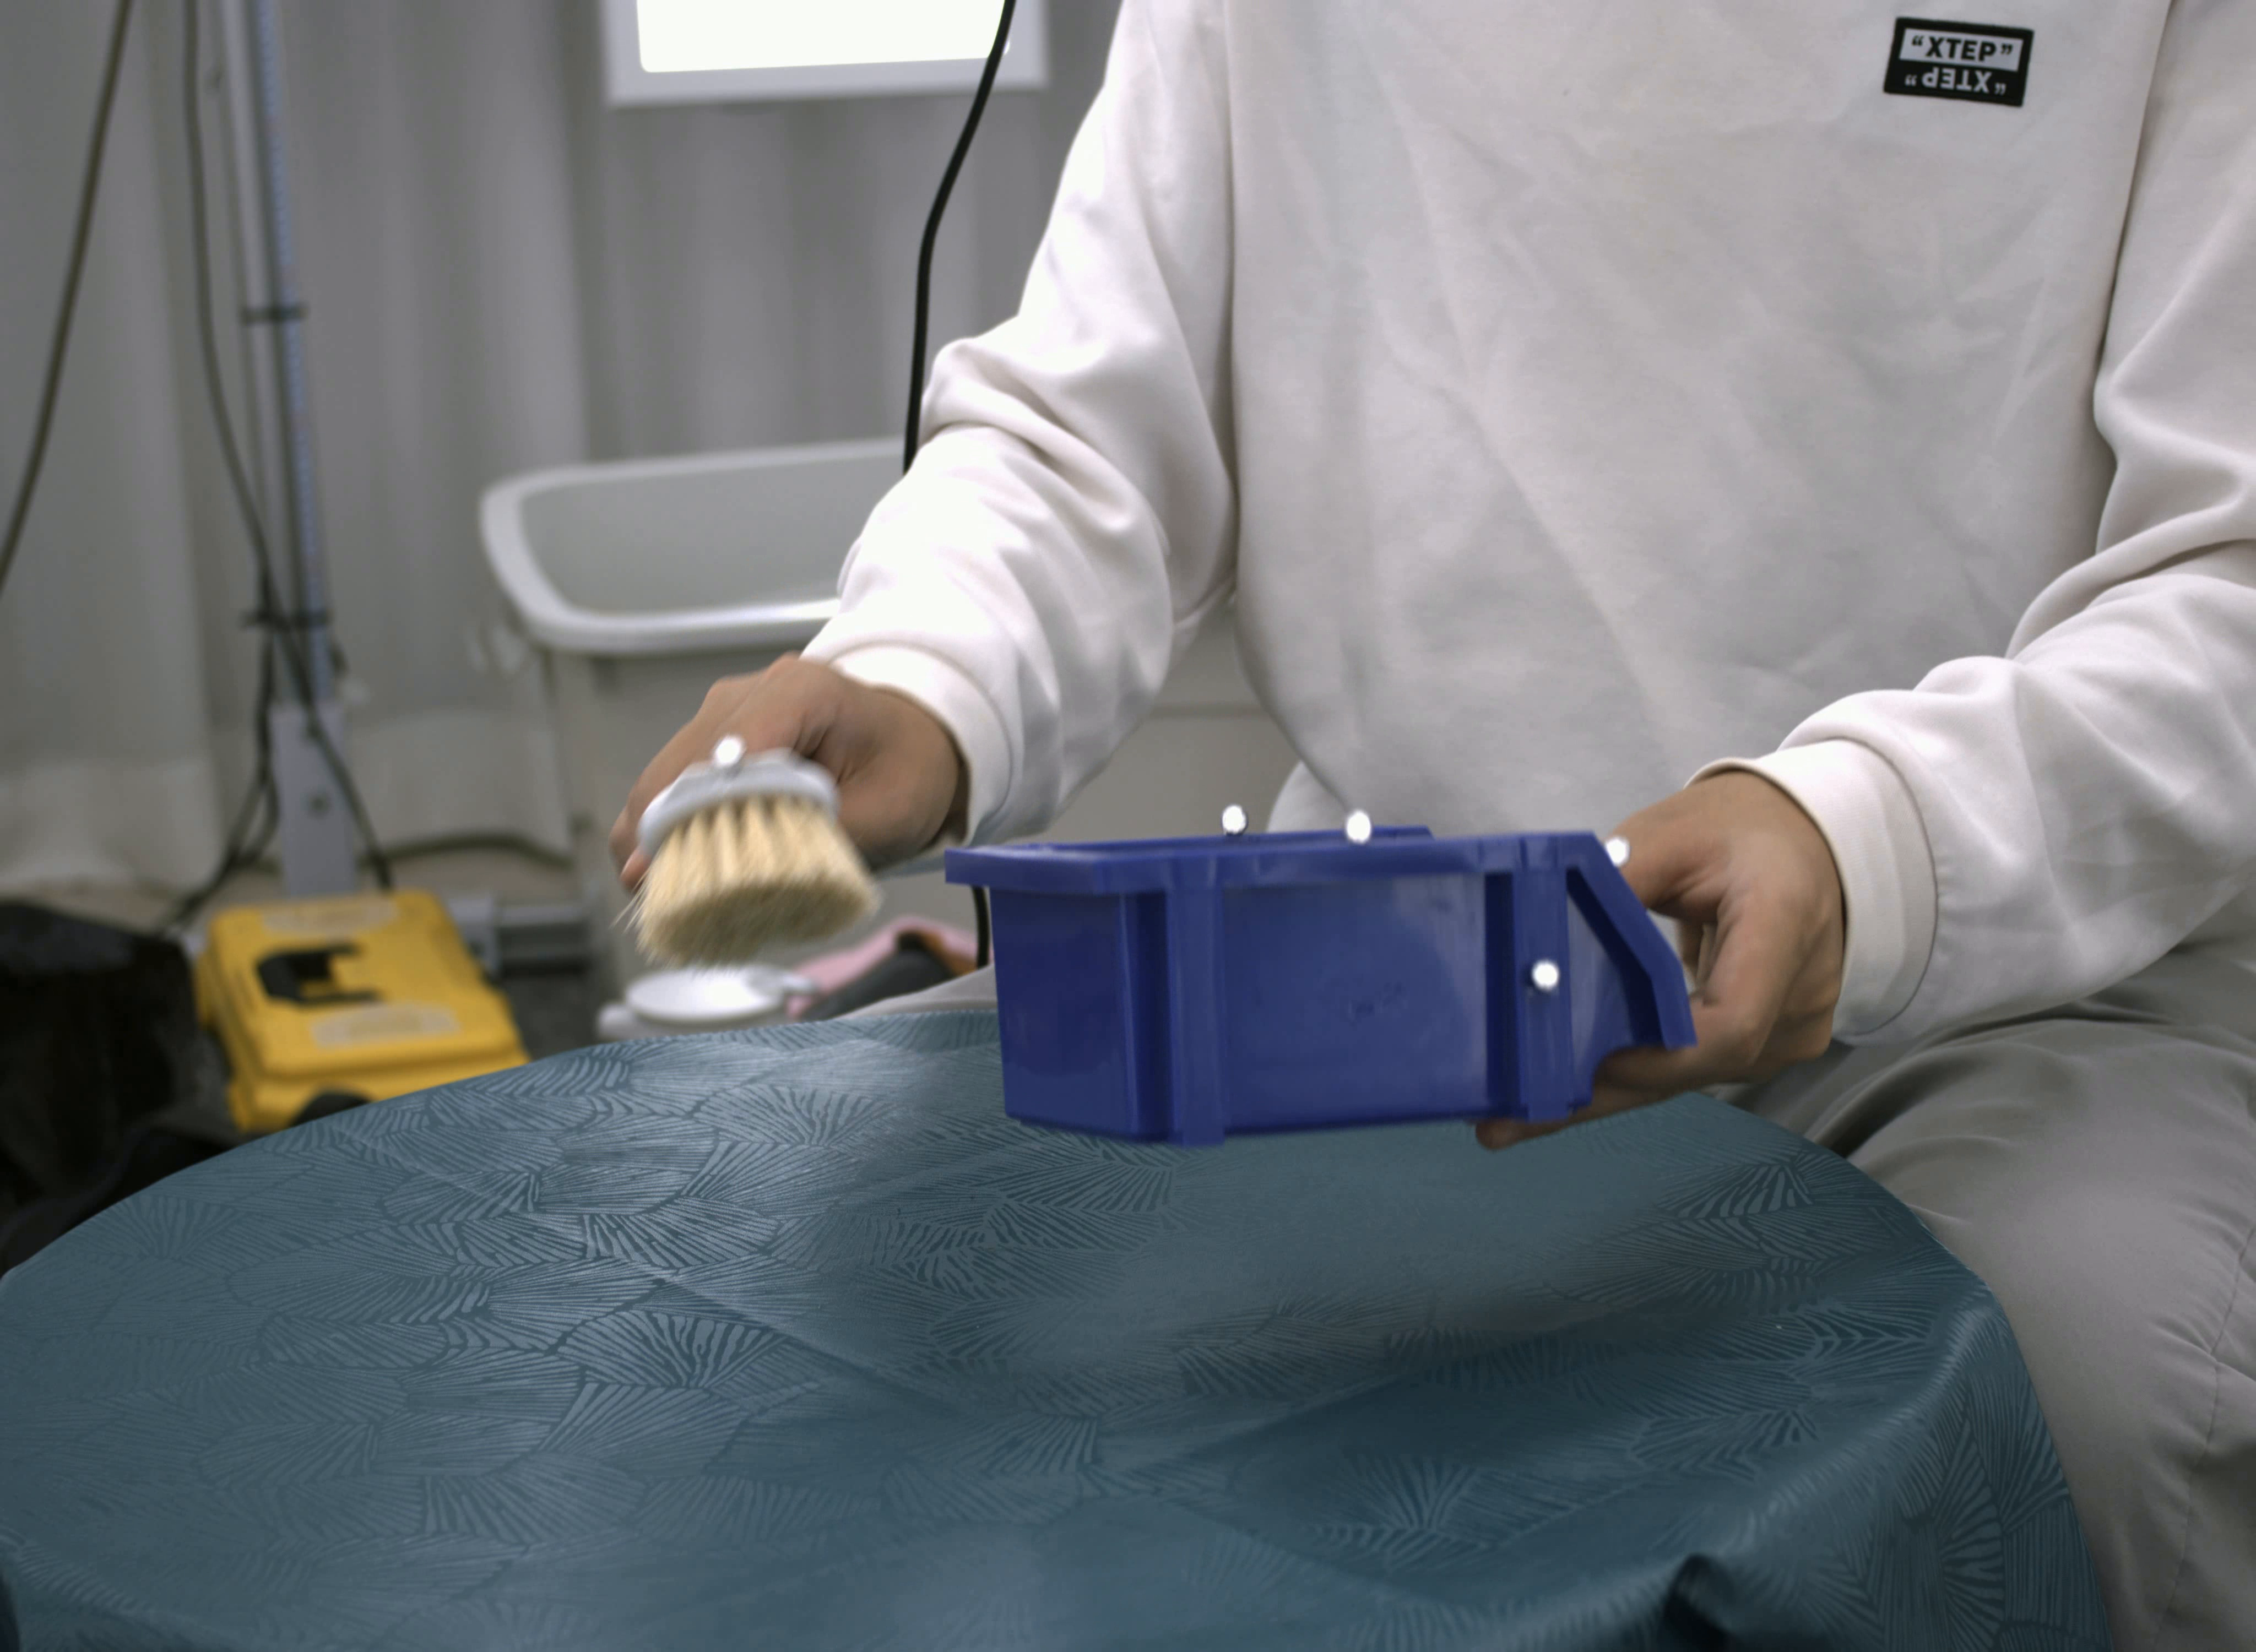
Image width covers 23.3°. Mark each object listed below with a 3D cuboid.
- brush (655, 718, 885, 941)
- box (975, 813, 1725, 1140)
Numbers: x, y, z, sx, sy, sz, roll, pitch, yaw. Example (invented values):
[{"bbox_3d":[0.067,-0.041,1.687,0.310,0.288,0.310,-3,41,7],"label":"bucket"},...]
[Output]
[{"bbox_3d":[-0.116,0.023,1.714,0.068,0.056,0.265,3,-13,-6],"label":"brush"},{"bbox_3d":[0.062,0.040,1.559,0.178,0.082,0.125,-5,2,-21],"label":"box"}]
